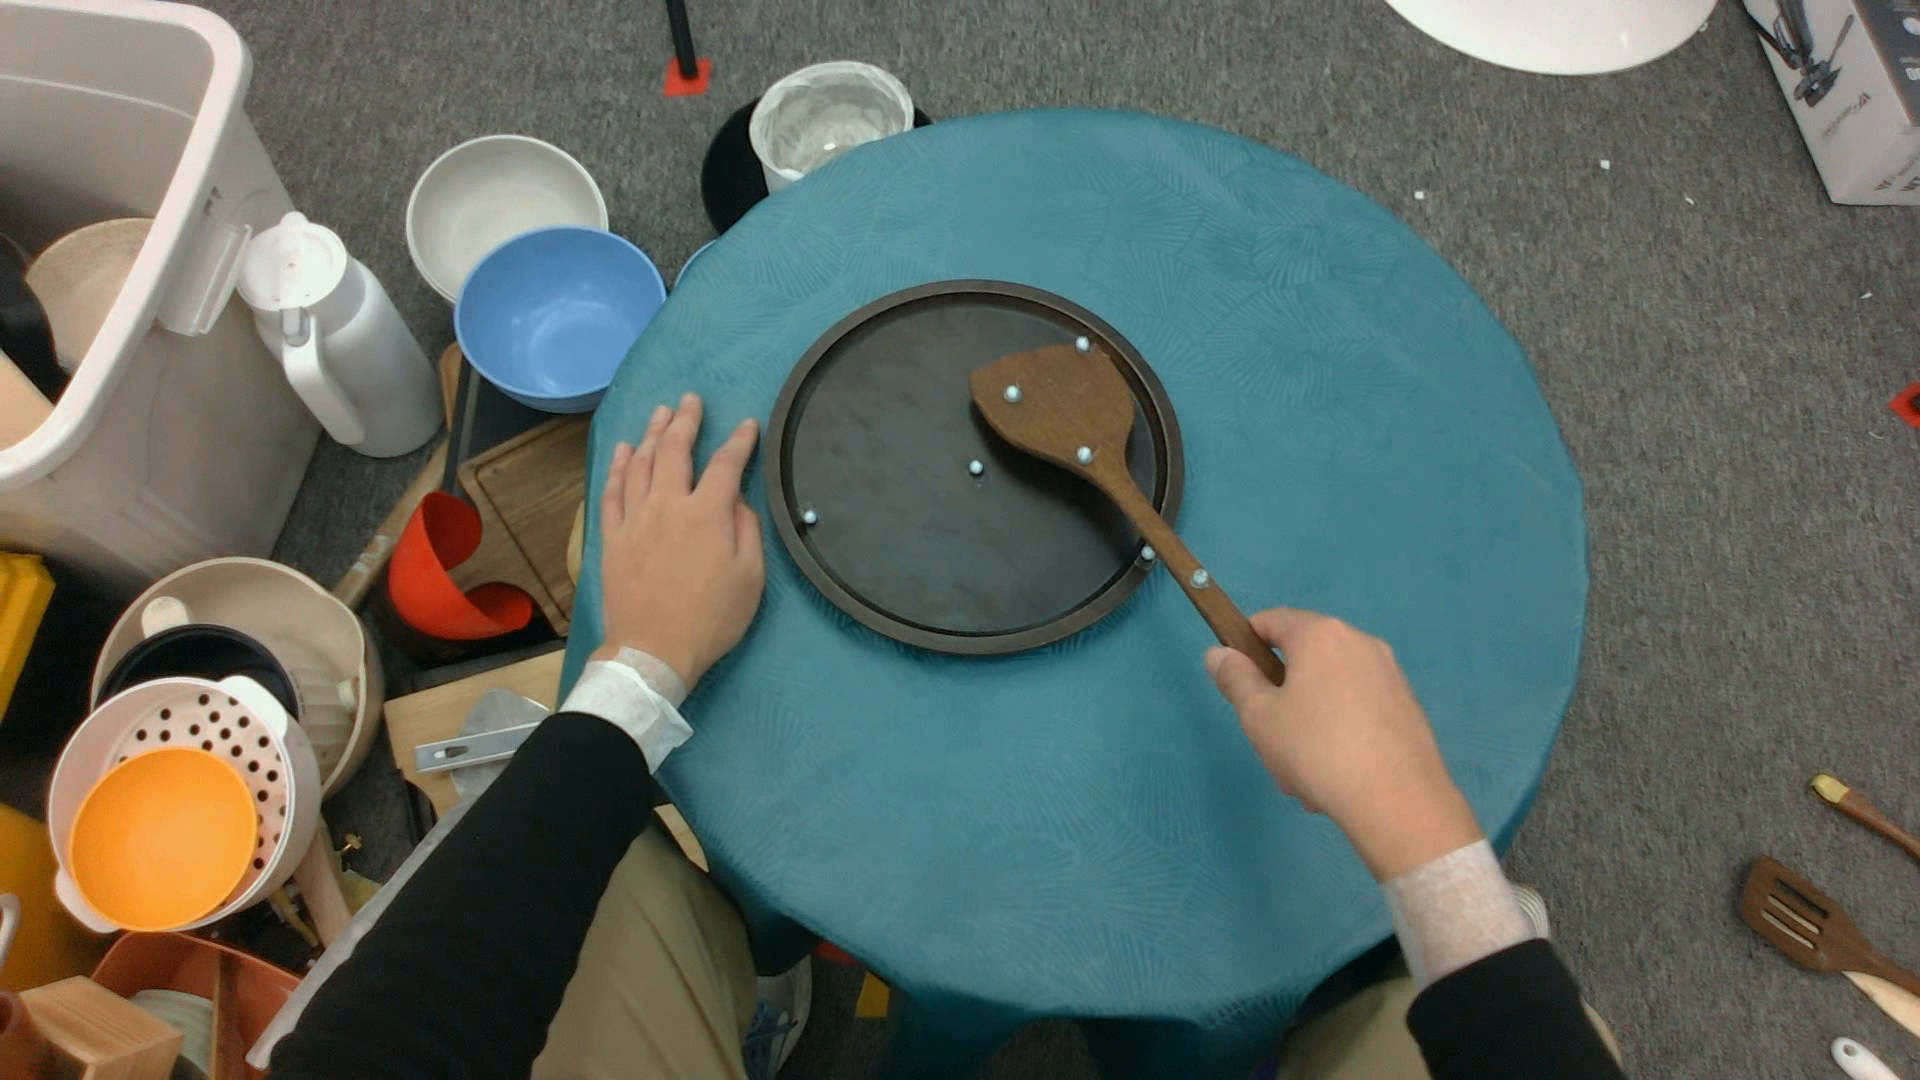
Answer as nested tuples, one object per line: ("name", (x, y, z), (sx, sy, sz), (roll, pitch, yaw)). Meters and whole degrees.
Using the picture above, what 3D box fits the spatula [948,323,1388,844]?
("spatula", (0.109, 0.003, 0.741), (0.096, 0.016, 0.387), (-16, 50, -20))

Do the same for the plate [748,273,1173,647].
("plate", (0.000, -0.053, 0.827), (0.255, 0.029, 0.255), (1, 65, -3))
